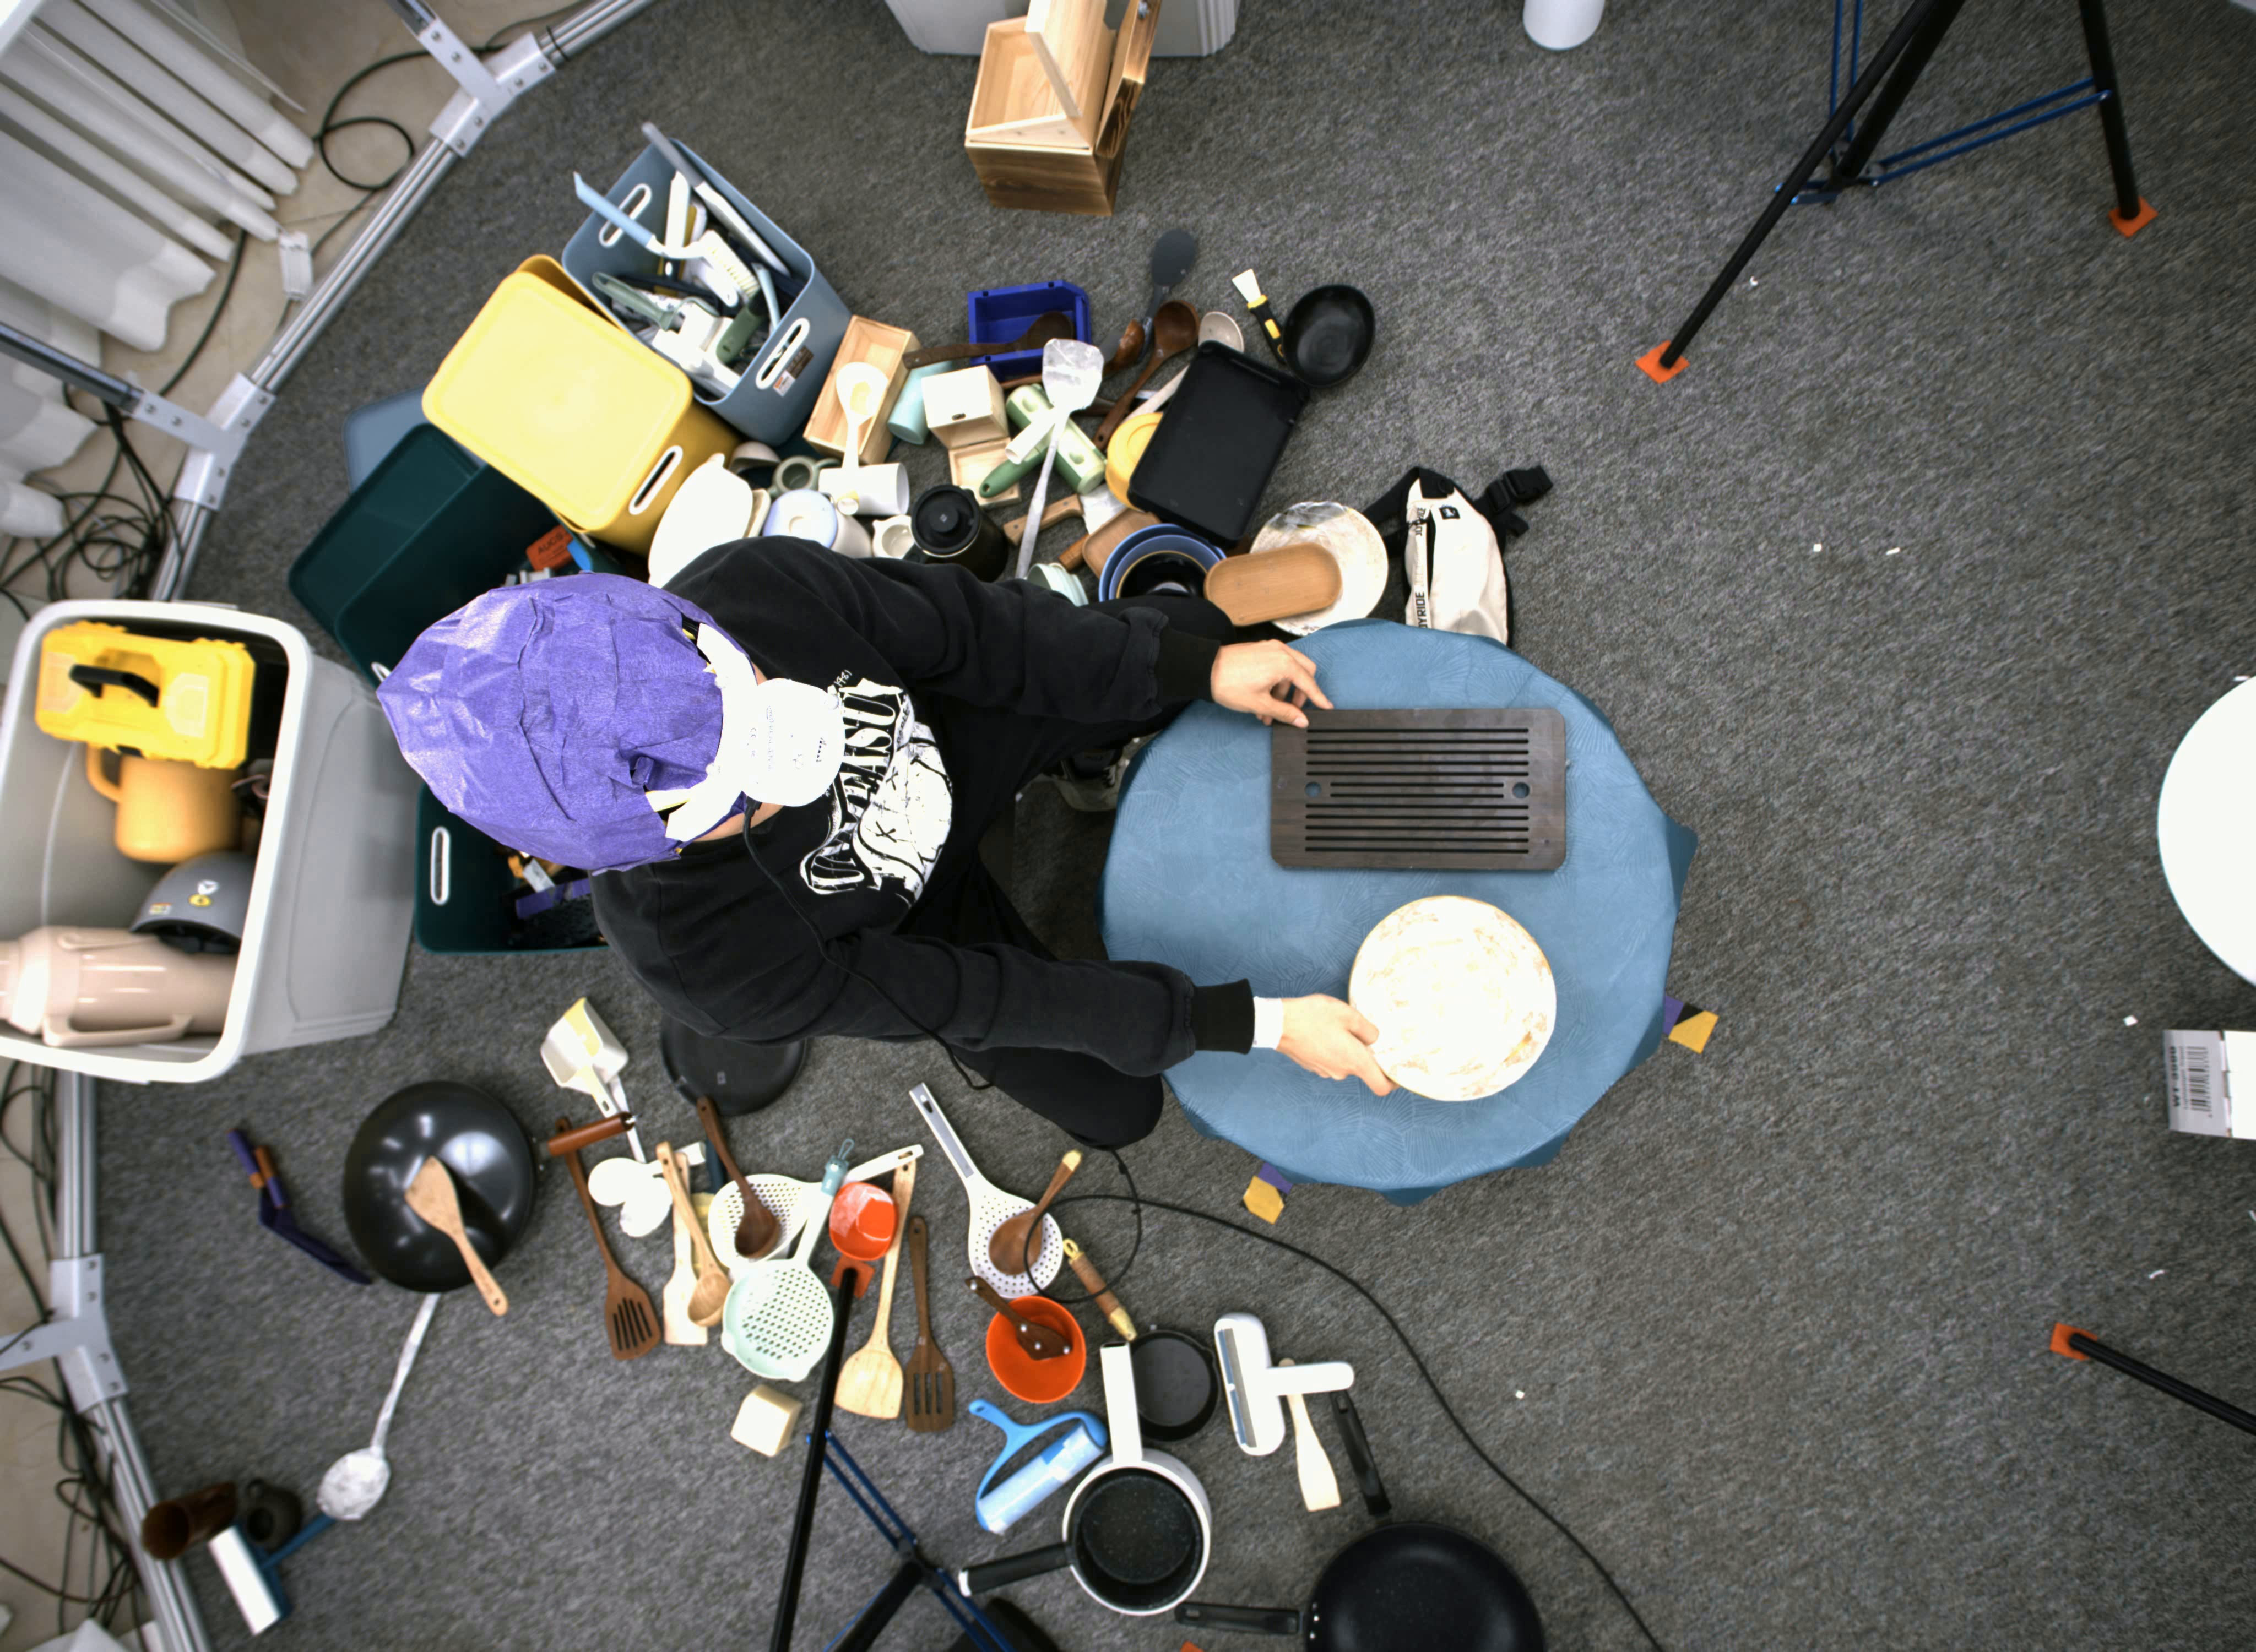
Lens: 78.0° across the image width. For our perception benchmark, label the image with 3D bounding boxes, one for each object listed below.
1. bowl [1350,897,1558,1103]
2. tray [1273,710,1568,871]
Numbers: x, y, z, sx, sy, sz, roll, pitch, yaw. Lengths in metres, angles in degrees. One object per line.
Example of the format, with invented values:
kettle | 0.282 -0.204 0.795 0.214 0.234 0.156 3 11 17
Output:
bowl | 0.326 0.170 1.401 0.215 0.094 0.214 -1 86 11
tray | 0.307 -0.040 1.457 0.307 0.018 0.169 0 86 11
